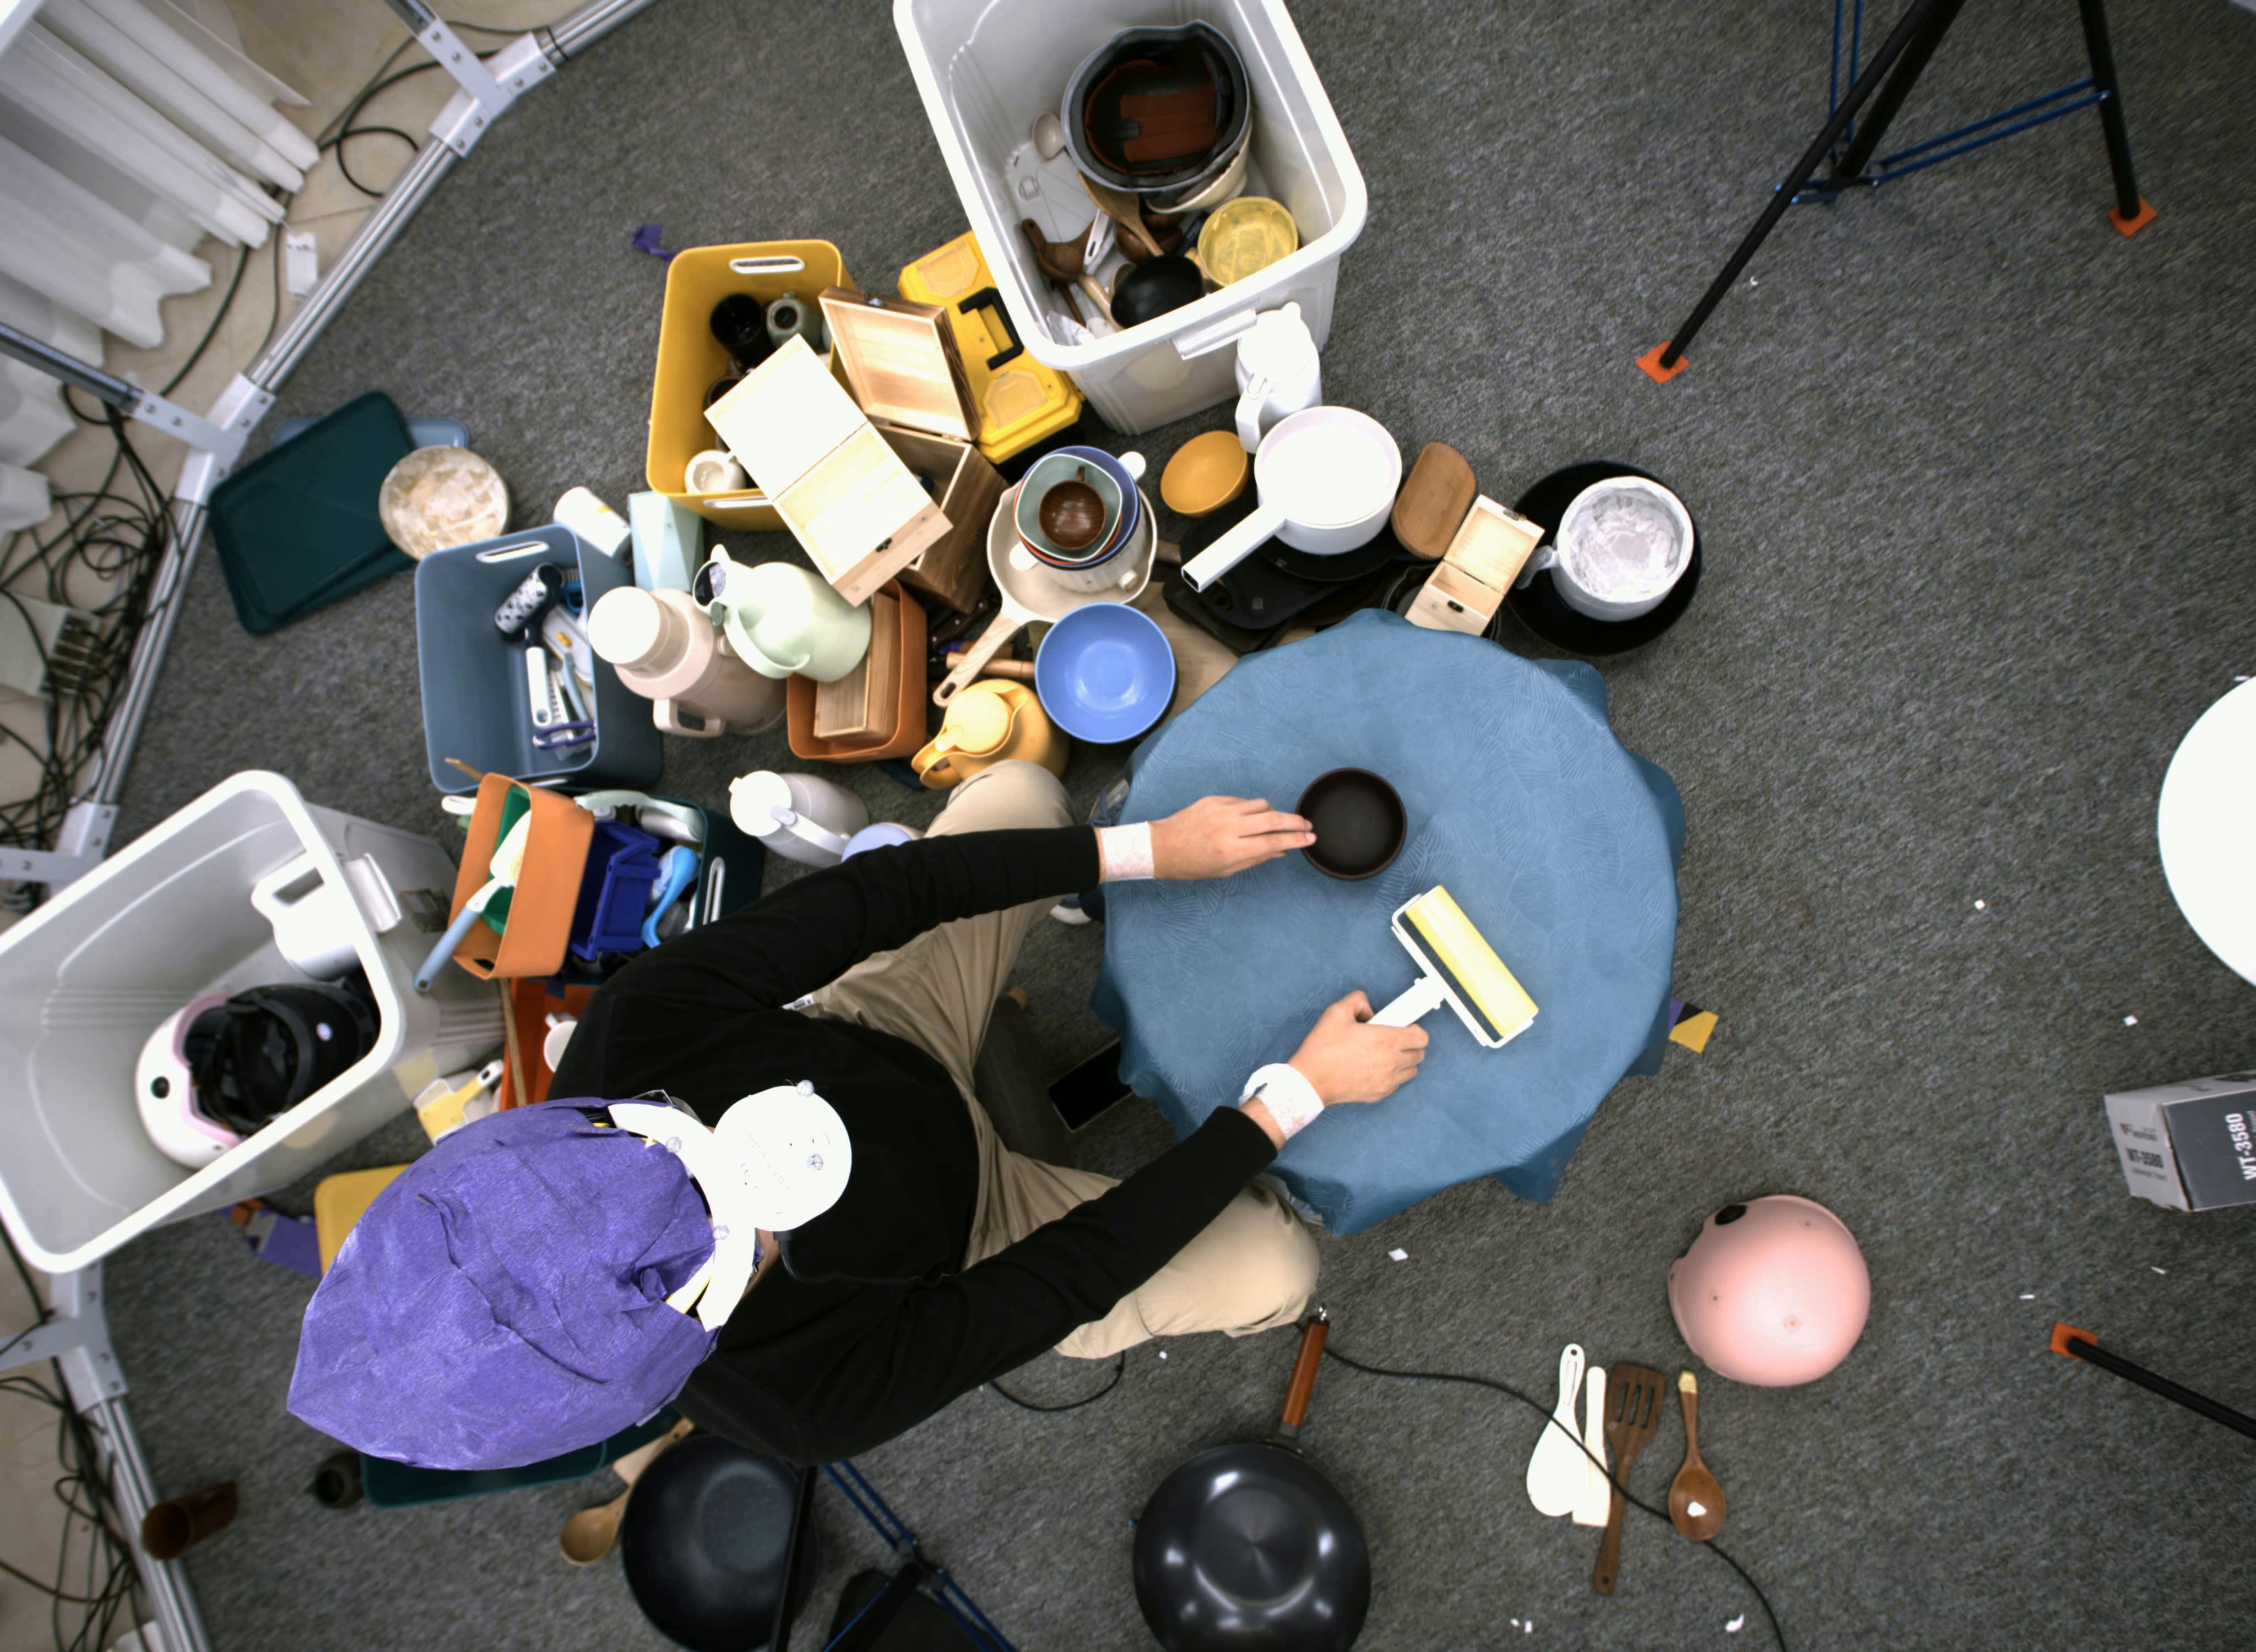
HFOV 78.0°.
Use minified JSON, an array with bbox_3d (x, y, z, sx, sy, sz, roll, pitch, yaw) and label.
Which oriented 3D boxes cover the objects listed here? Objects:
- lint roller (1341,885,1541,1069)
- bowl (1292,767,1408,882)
[{"bbox_3d":[0.298,0.181,1.416,0.191,0.052,0.173,-38,81,-3],"label":"lint roller"},{"bbox_3d":[0.230,0.000,1.433,0.118,0.070,0.117,-1,85,9],"label":"bowl"}]
